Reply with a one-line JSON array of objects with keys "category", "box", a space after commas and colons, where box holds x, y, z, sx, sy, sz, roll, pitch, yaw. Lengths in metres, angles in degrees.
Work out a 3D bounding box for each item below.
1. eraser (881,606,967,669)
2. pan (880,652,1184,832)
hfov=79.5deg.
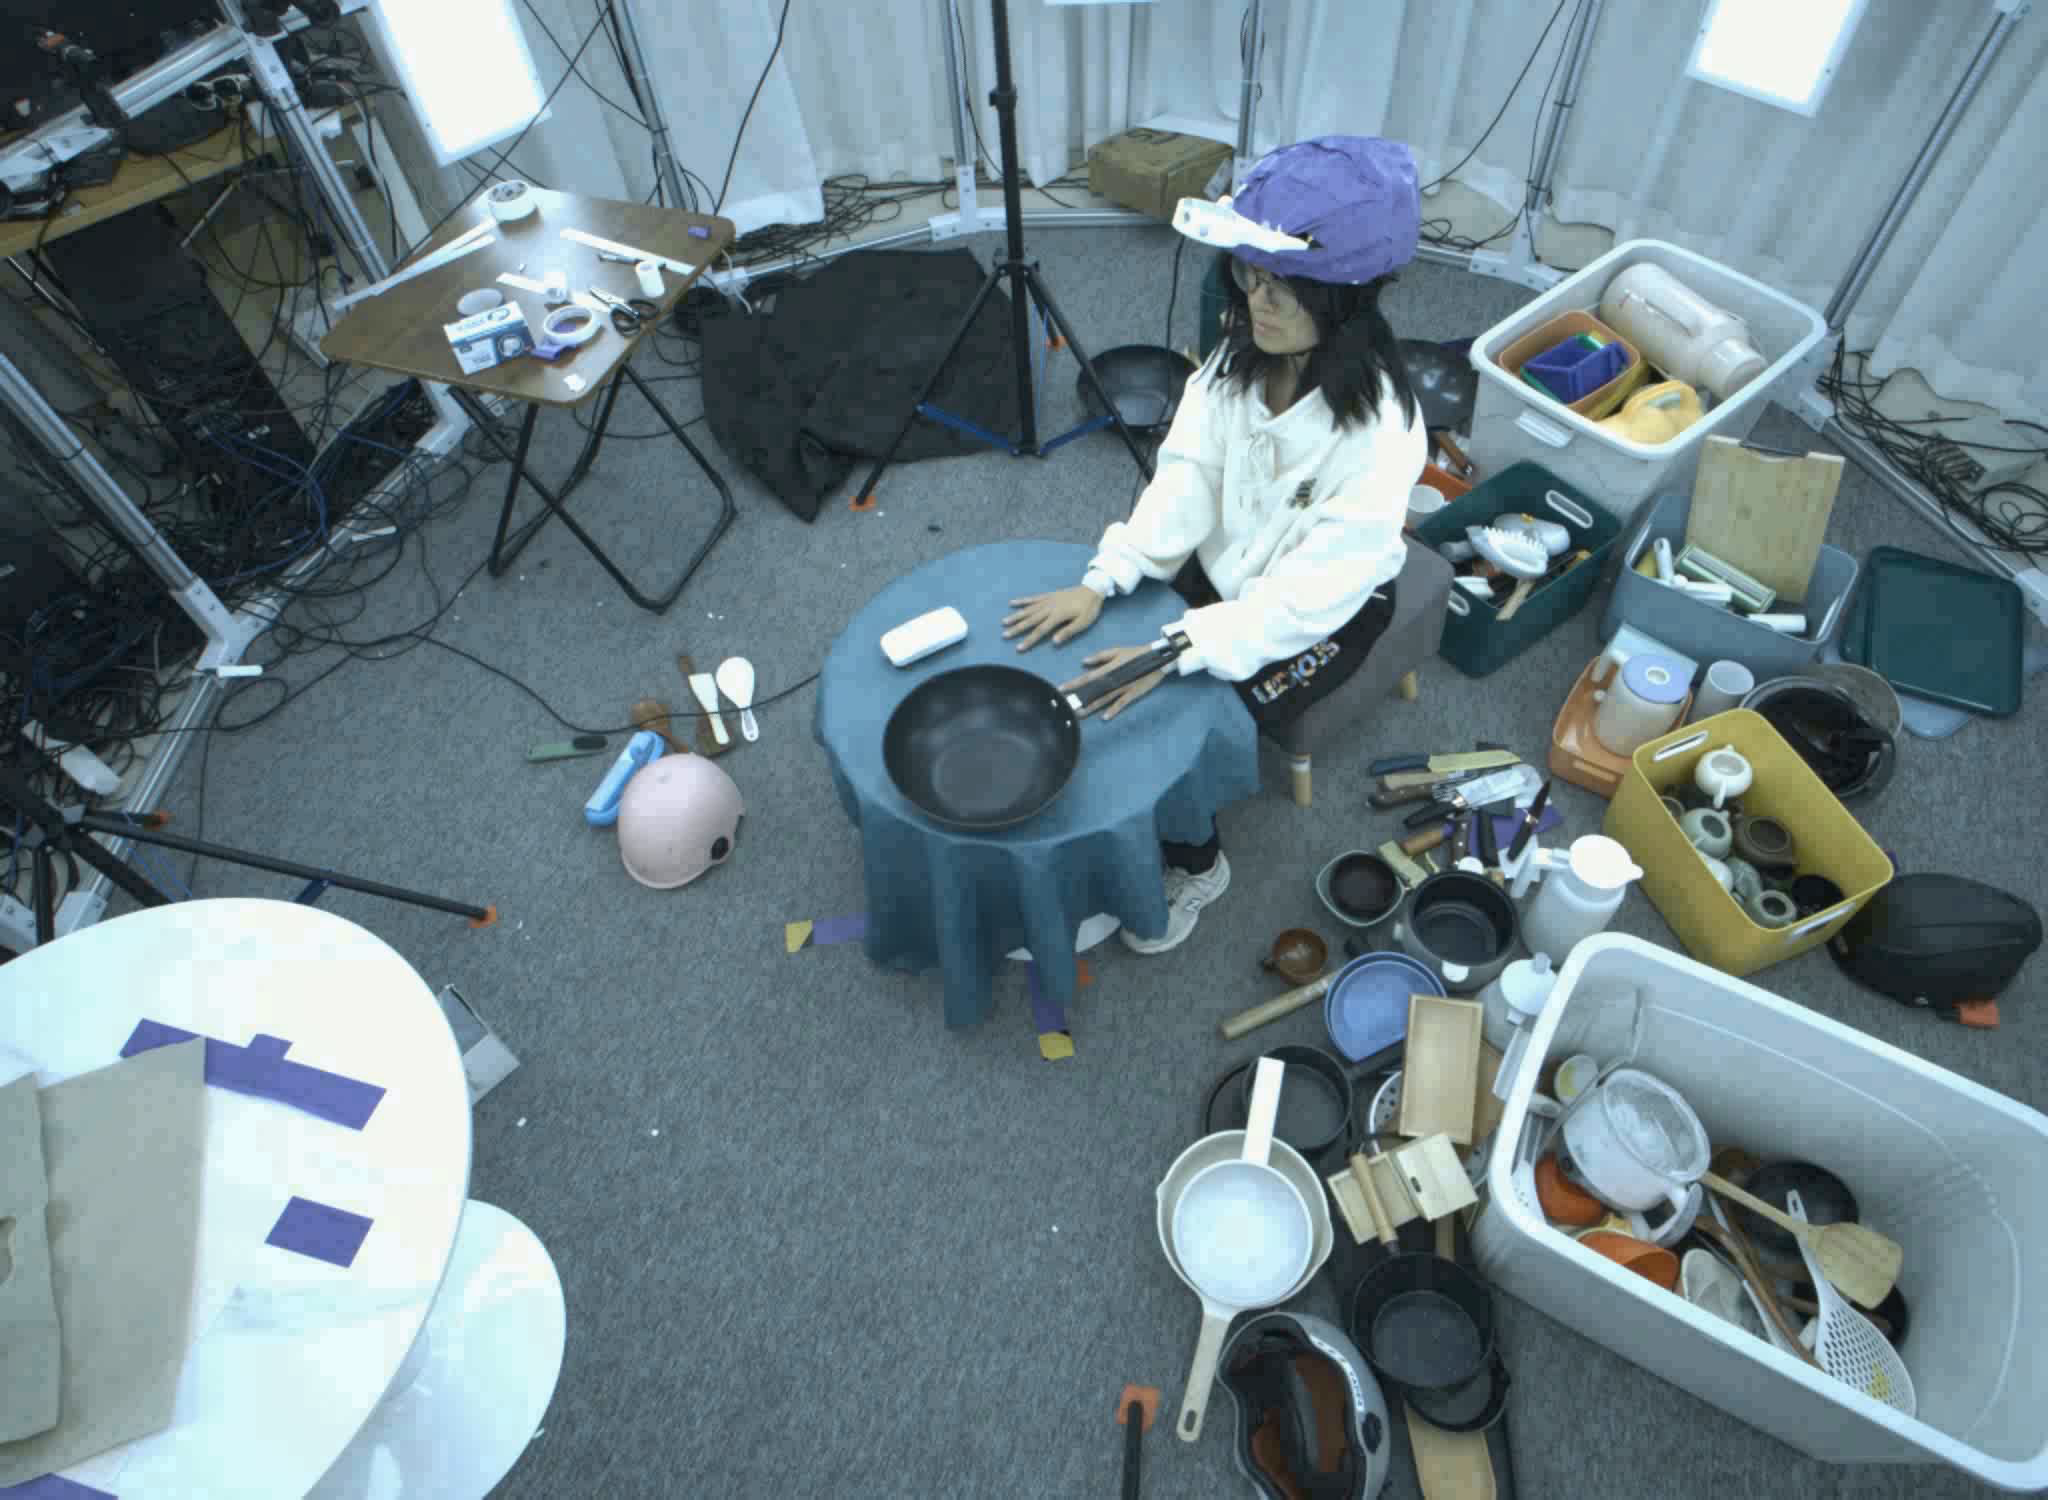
[{"category": "eraser", "box": [-0.154, -0.175, 1.898, 0.132, 0.035, 0.062, -27, 61, -15]}, {"category": "pan", "box": [0.021, -0.028, 1.757, 0.467, 0.088, 0.283, -25, 58, -16]}]
